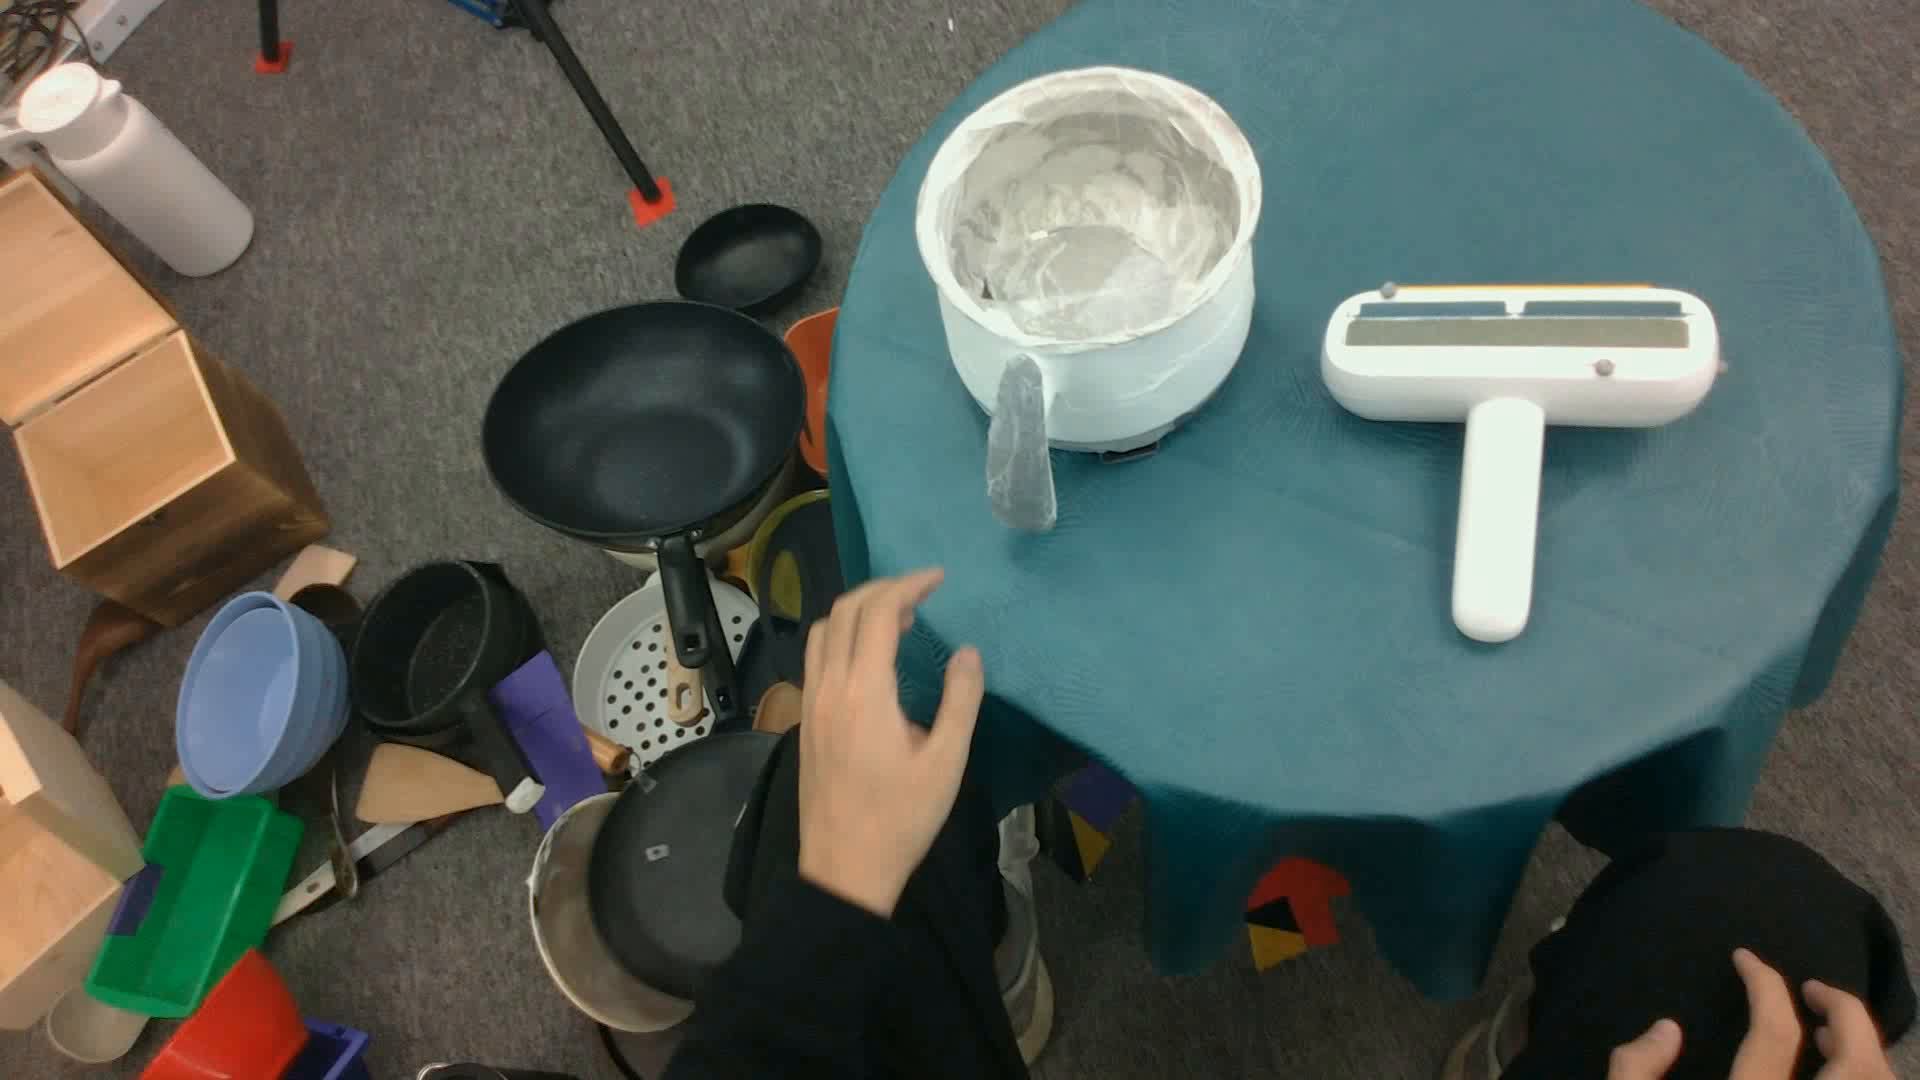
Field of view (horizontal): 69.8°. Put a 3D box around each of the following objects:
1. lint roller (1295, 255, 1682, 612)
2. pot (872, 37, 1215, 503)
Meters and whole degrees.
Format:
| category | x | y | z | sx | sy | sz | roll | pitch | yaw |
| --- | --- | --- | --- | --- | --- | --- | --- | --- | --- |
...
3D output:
| category | x | y | z | sx | sy | sz | roll | pitch | yaw |
| --- | --- | --- | --- | --- | --- | --- | --- | --- | --- |
| lint roller | 0.265 | -0.058 | 0.725 | 0.192 | 0.074 | 0.193 | 9 | 70 | 18 |
| pot | 0.043 | -0.141 | 0.754 | 0.178 | 0.136 | 0.234 | 12 | 68 | 15 |
